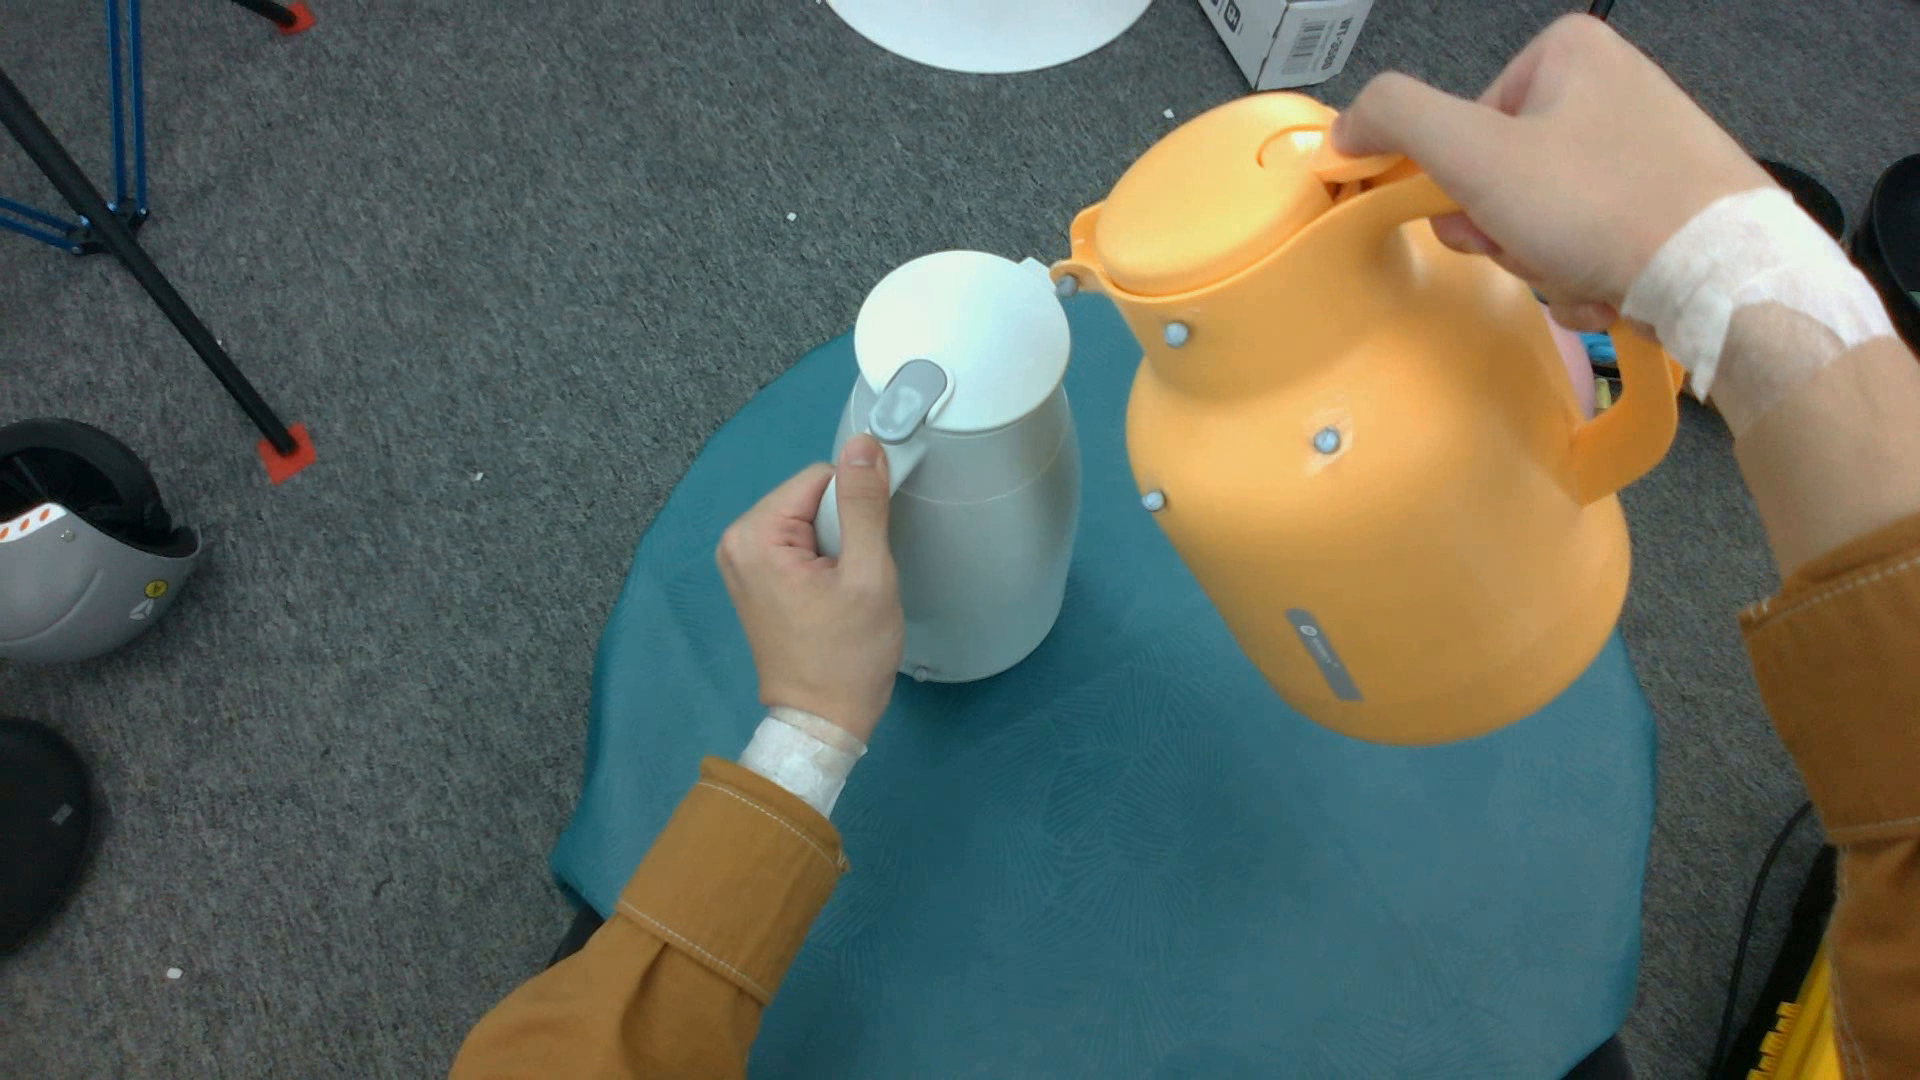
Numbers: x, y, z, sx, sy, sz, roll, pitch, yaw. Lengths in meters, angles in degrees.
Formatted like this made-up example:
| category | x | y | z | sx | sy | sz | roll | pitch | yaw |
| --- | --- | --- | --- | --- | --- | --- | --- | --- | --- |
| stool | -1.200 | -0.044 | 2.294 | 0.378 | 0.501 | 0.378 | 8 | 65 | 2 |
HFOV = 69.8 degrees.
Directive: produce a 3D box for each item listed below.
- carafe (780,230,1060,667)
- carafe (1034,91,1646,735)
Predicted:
| category | x | y | z | sx | sy | sz | roll | pitch | yaw |
| --- | --- | --- | --- | --- | --- | --- | --- | --- | --- |
| carafe | -0.024 | -0.028 | 0.674 | 0.132 | 0.247 | 0.168 | 34 | 67 | 13 |
| carafe | 0.156 | -0.048 | 0.531 | 0.202 | 0.260 | 0.164 | -2 | 51 | 40 |
